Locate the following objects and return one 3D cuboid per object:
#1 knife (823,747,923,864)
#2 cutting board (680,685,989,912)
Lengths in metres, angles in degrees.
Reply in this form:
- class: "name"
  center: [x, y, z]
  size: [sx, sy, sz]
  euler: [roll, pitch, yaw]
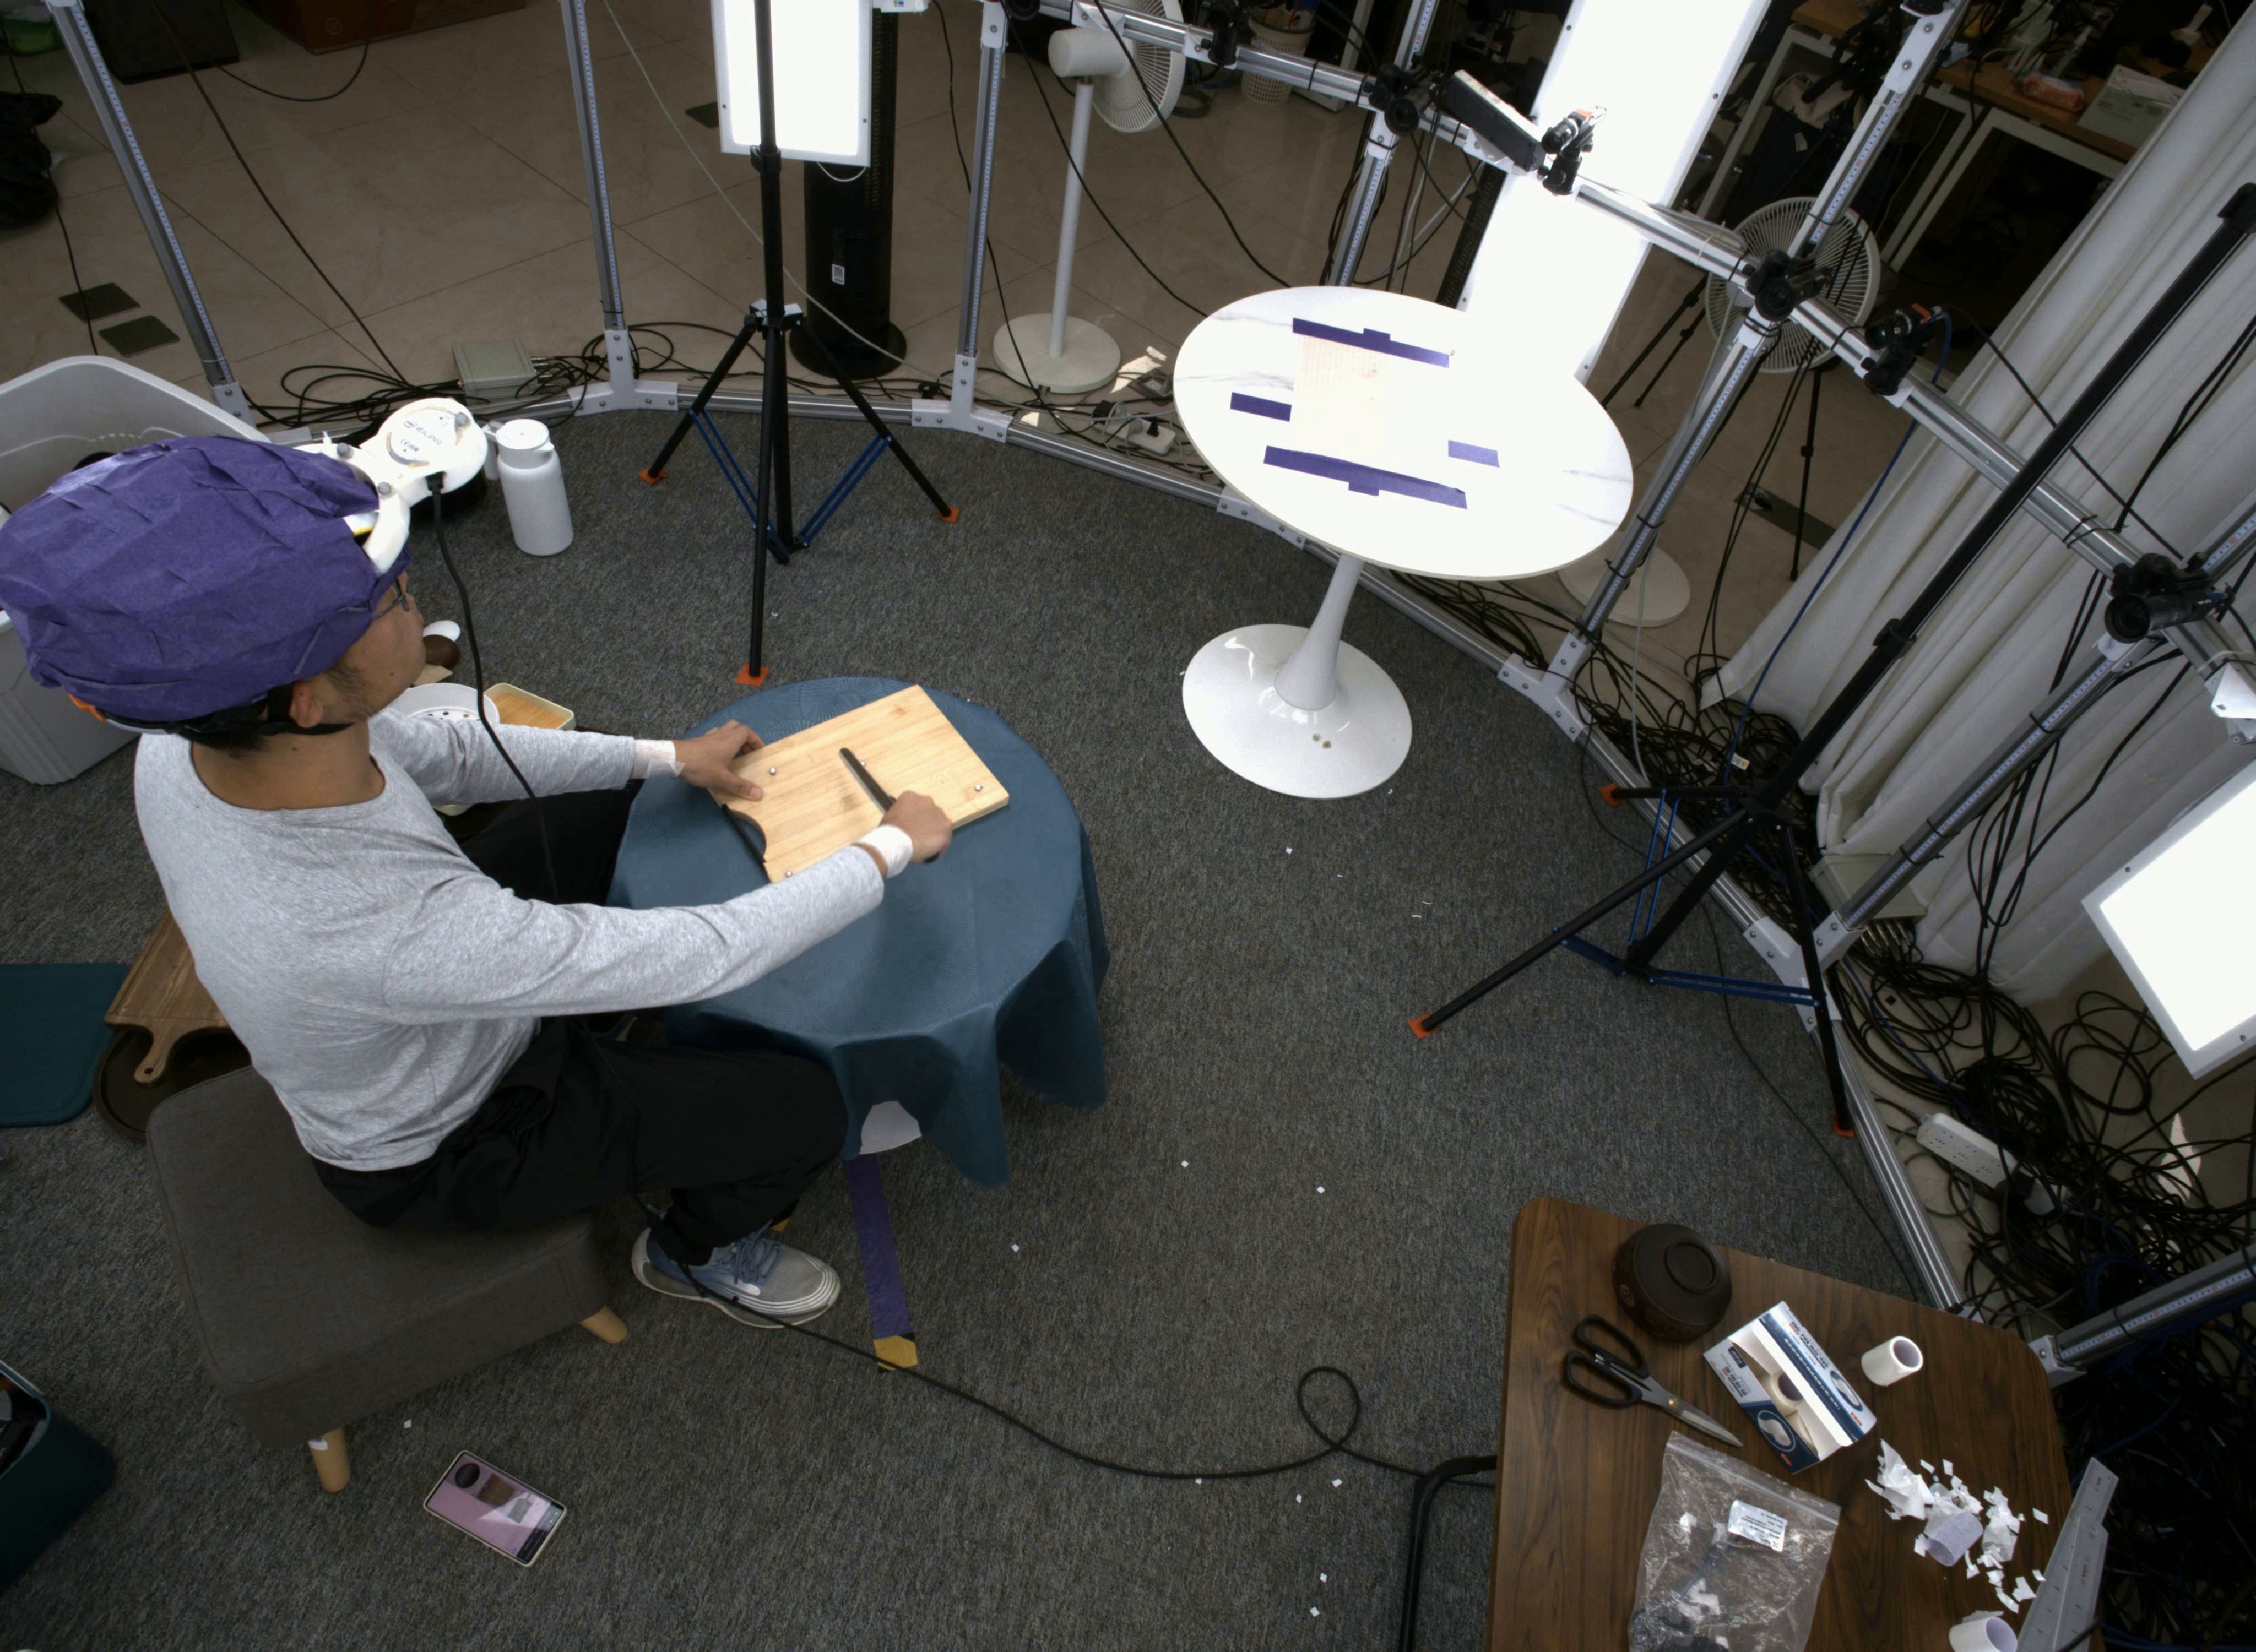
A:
- class: "knife"
  center: [-0.334, -0.031, 1.663]
  size: [0.020, 0.052, 0.278]
  euler: [-21, 42, -29]
- class: "cutting board"
  center: [-0.394, -0.047, 1.768]
  size: [0.350, 0.024, 0.244]
  euler: [-29, 65, -30]
